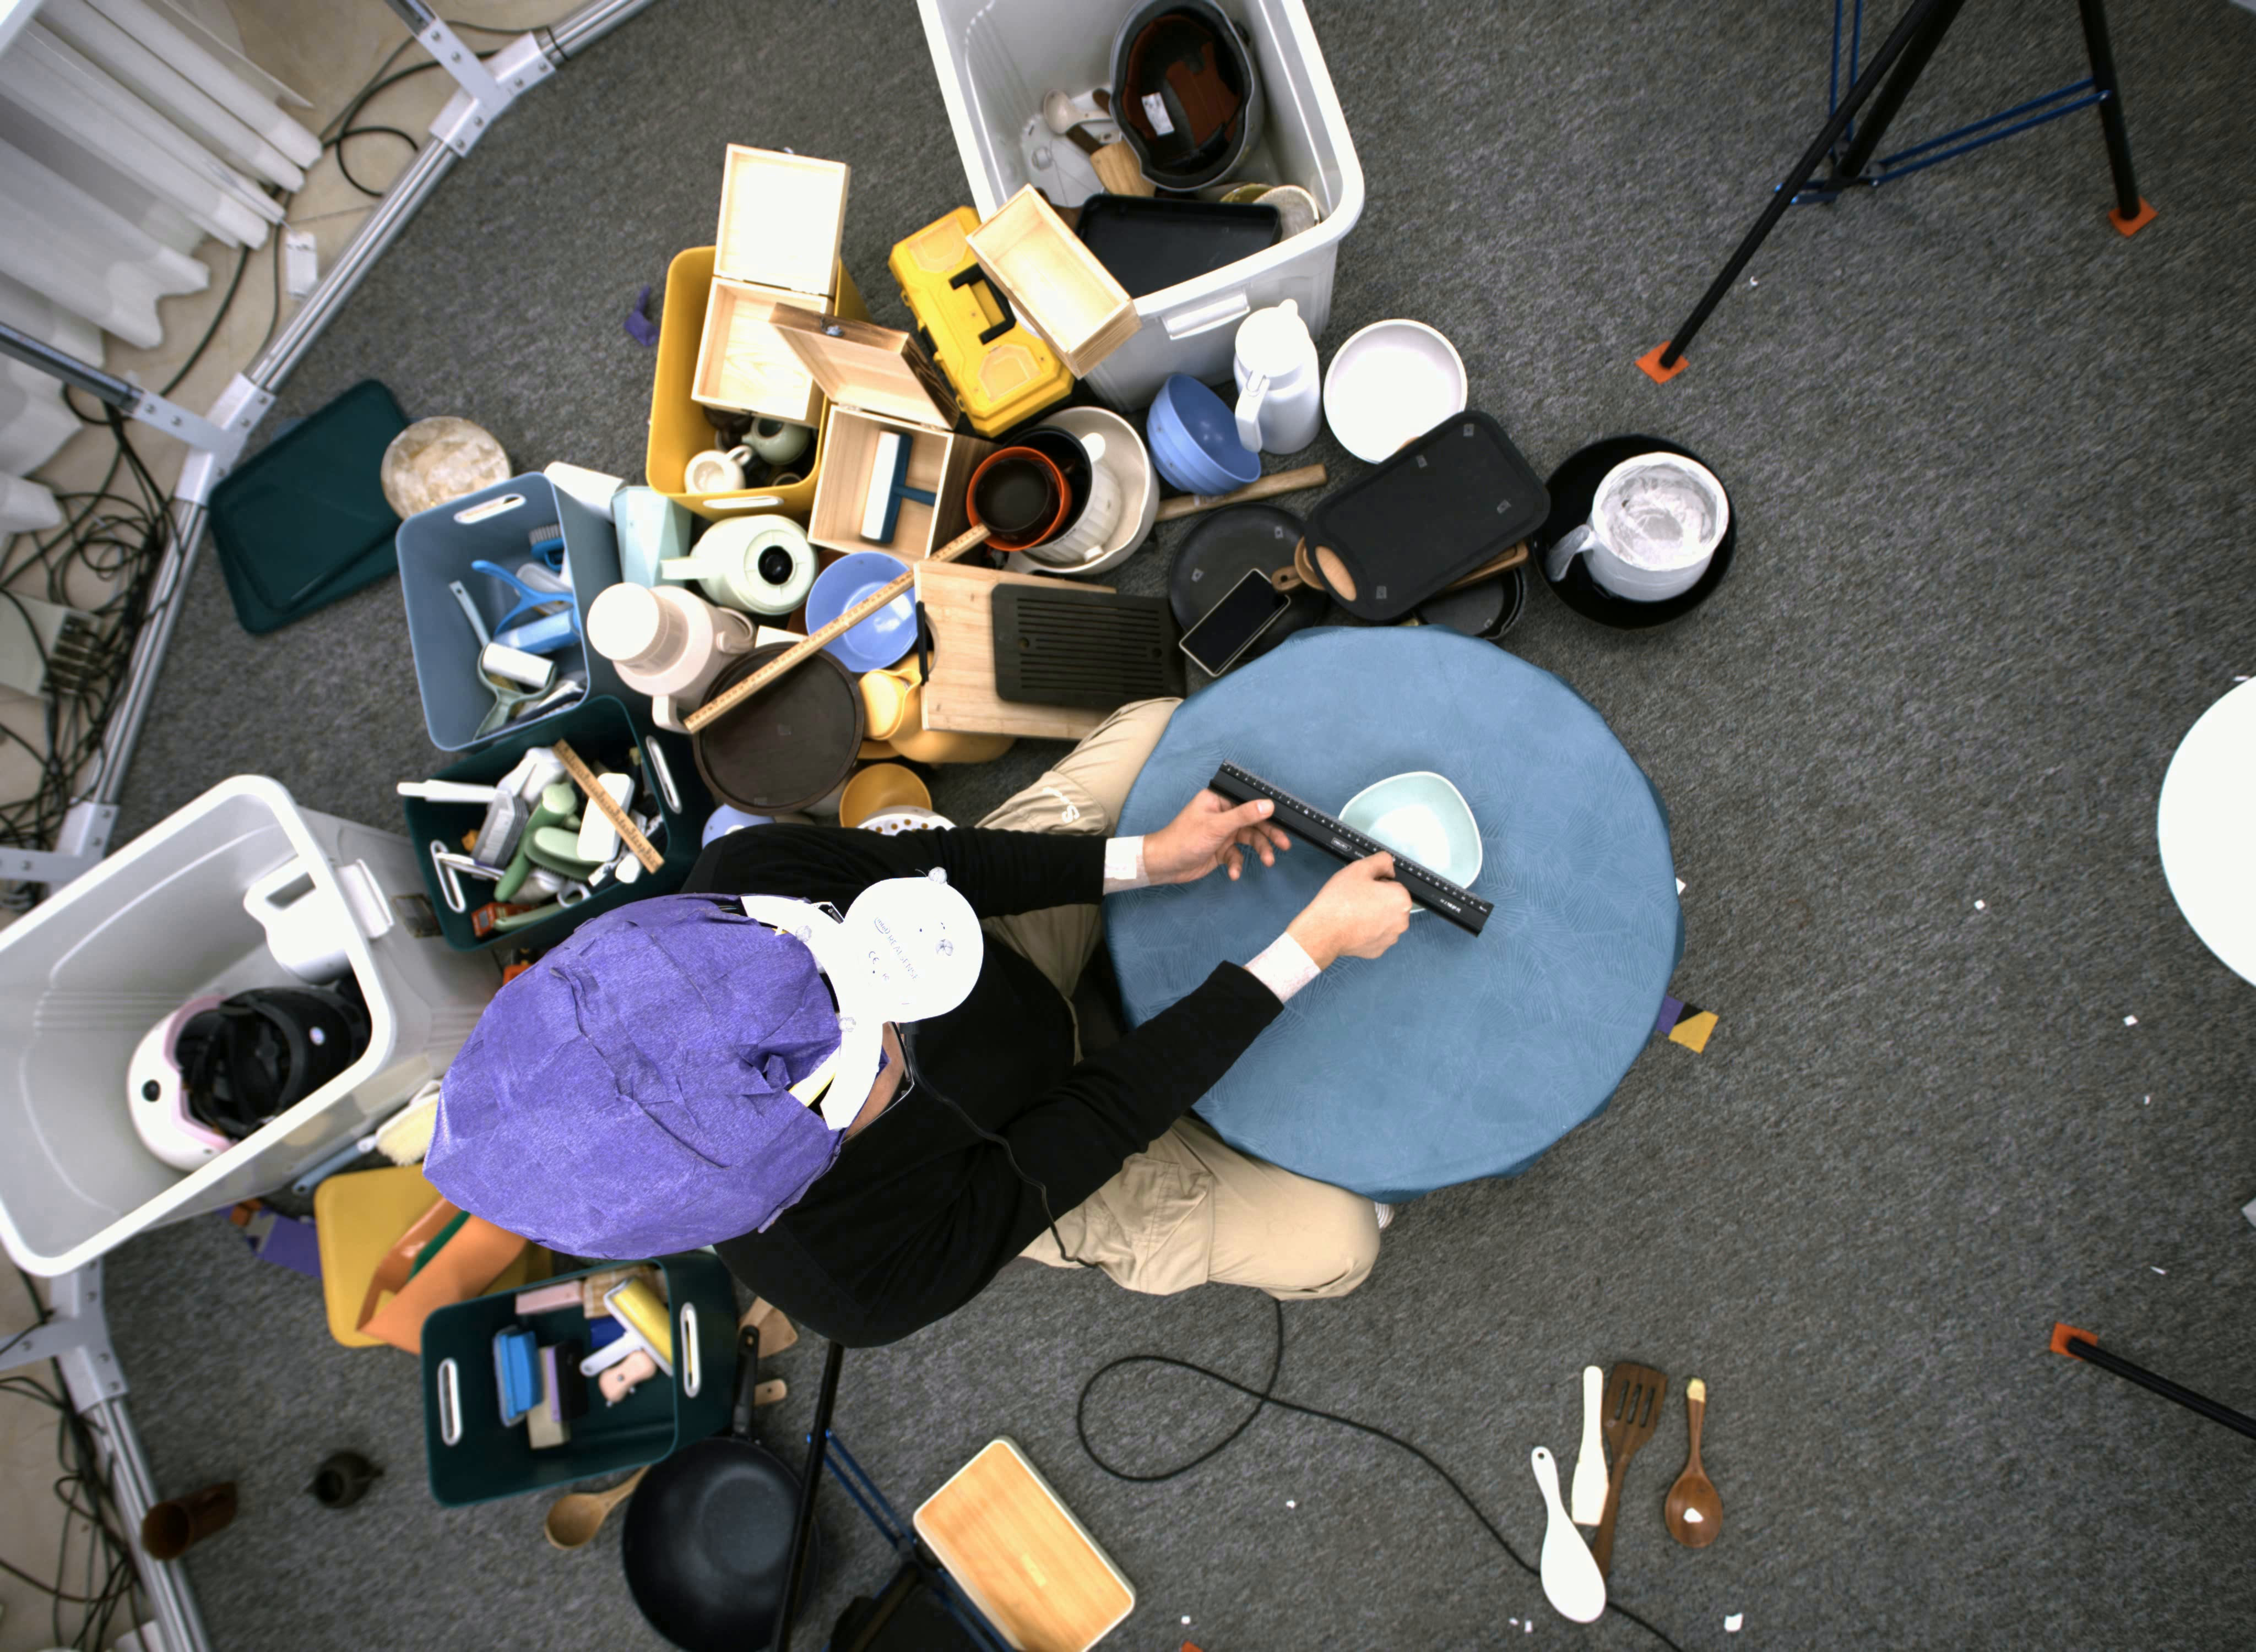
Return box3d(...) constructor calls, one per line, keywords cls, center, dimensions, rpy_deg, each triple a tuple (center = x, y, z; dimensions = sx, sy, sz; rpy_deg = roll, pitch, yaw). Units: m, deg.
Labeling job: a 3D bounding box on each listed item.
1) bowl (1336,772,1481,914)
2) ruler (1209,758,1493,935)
box3d(cls="bowl", center=(0.289, 0.018, 1.432), dimensions=(0.152, 0.058, 0.151), rpy_deg=(-1, 87, 9))
box3d(cls="ruler", center=(0.225, 0.017, 1.398), dimensions=(0.312, 0.017, 0.039), rpy_deg=(29, 79, 10))
